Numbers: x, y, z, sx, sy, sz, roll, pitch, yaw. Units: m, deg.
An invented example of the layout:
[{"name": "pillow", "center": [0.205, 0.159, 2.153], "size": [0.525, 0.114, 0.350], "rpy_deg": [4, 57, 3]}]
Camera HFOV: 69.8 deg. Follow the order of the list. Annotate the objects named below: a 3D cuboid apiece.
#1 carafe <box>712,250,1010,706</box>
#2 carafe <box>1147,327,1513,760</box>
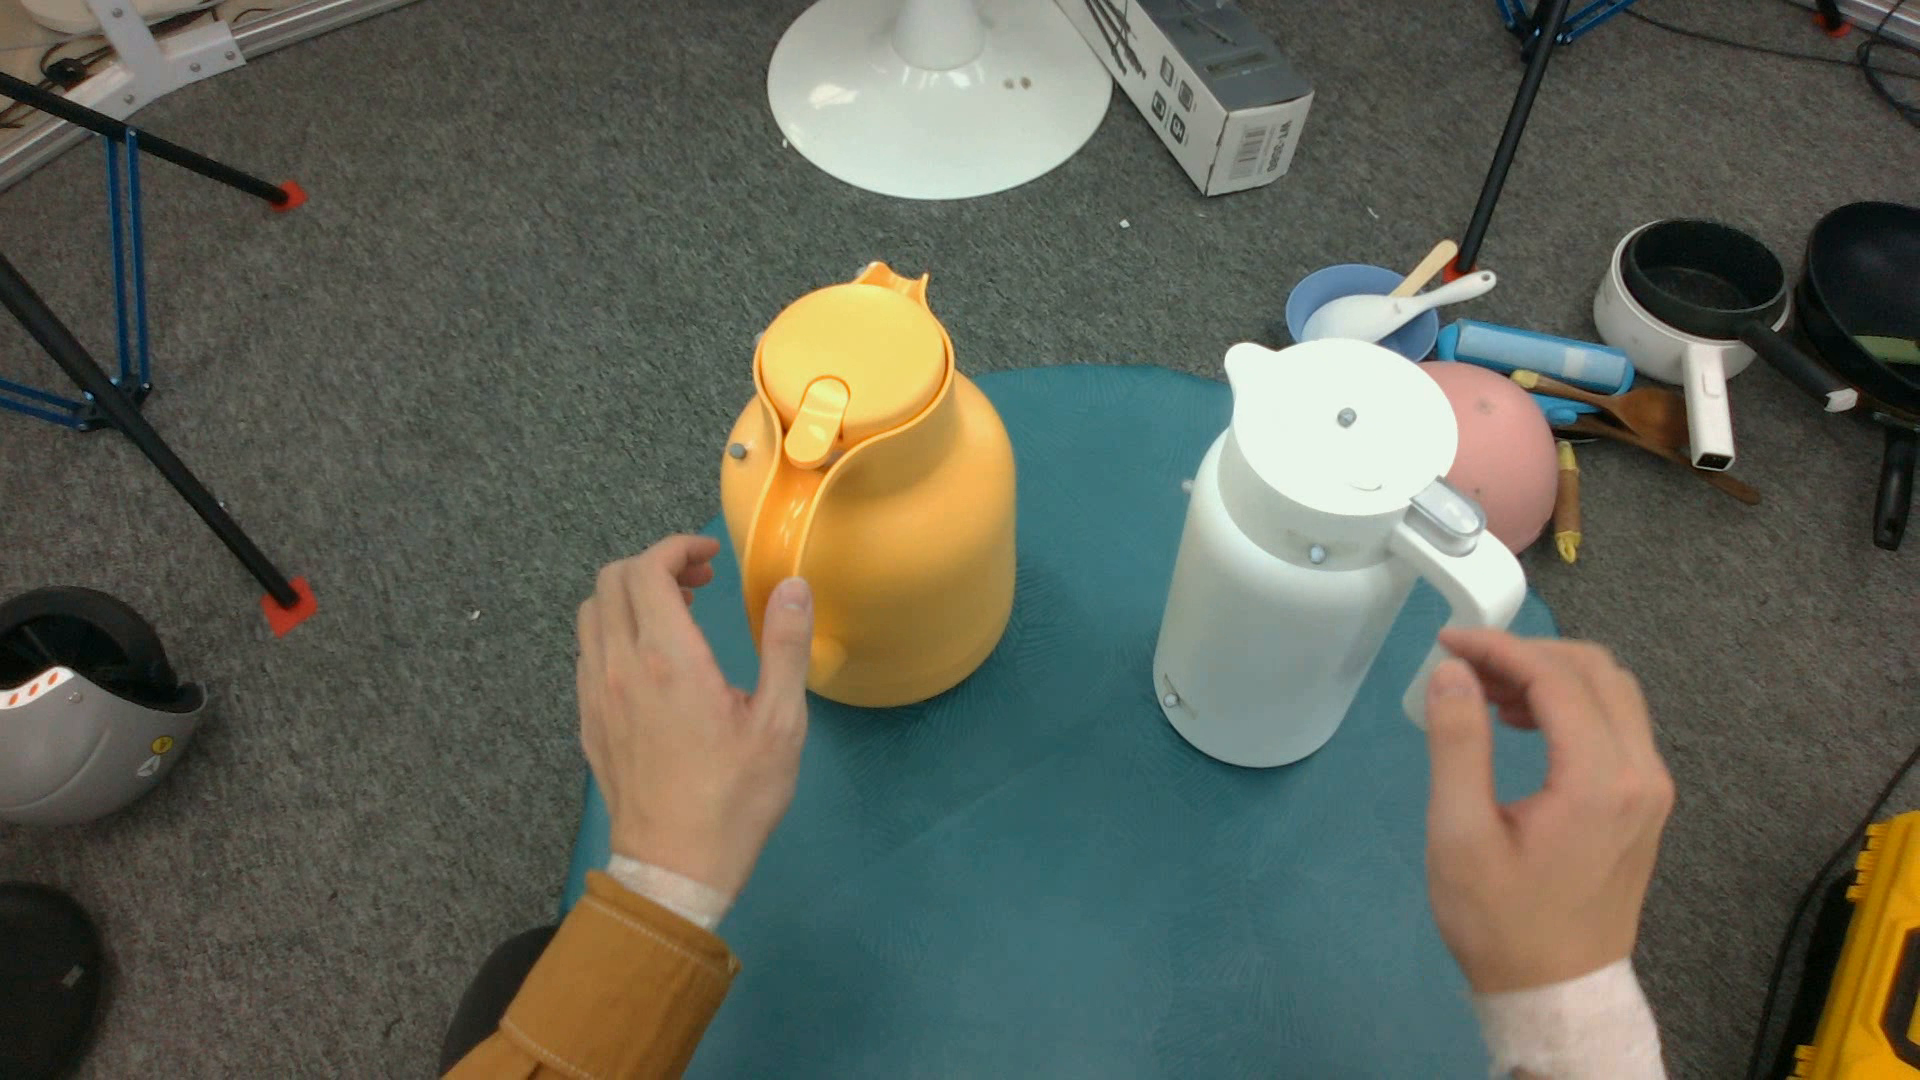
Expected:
[{"name": "carafe", "center": [-0.062, -0.014, 0.746], "size": [0.163, 0.259, 0.203], "rpy_deg": [16, 58, 14]}, {"name": "carafe", "center": [0.182, 0.023, 0.721], "size": [0.124, 0.267, 0.173], "rpy_deg": [-36, 64, -22]}]
